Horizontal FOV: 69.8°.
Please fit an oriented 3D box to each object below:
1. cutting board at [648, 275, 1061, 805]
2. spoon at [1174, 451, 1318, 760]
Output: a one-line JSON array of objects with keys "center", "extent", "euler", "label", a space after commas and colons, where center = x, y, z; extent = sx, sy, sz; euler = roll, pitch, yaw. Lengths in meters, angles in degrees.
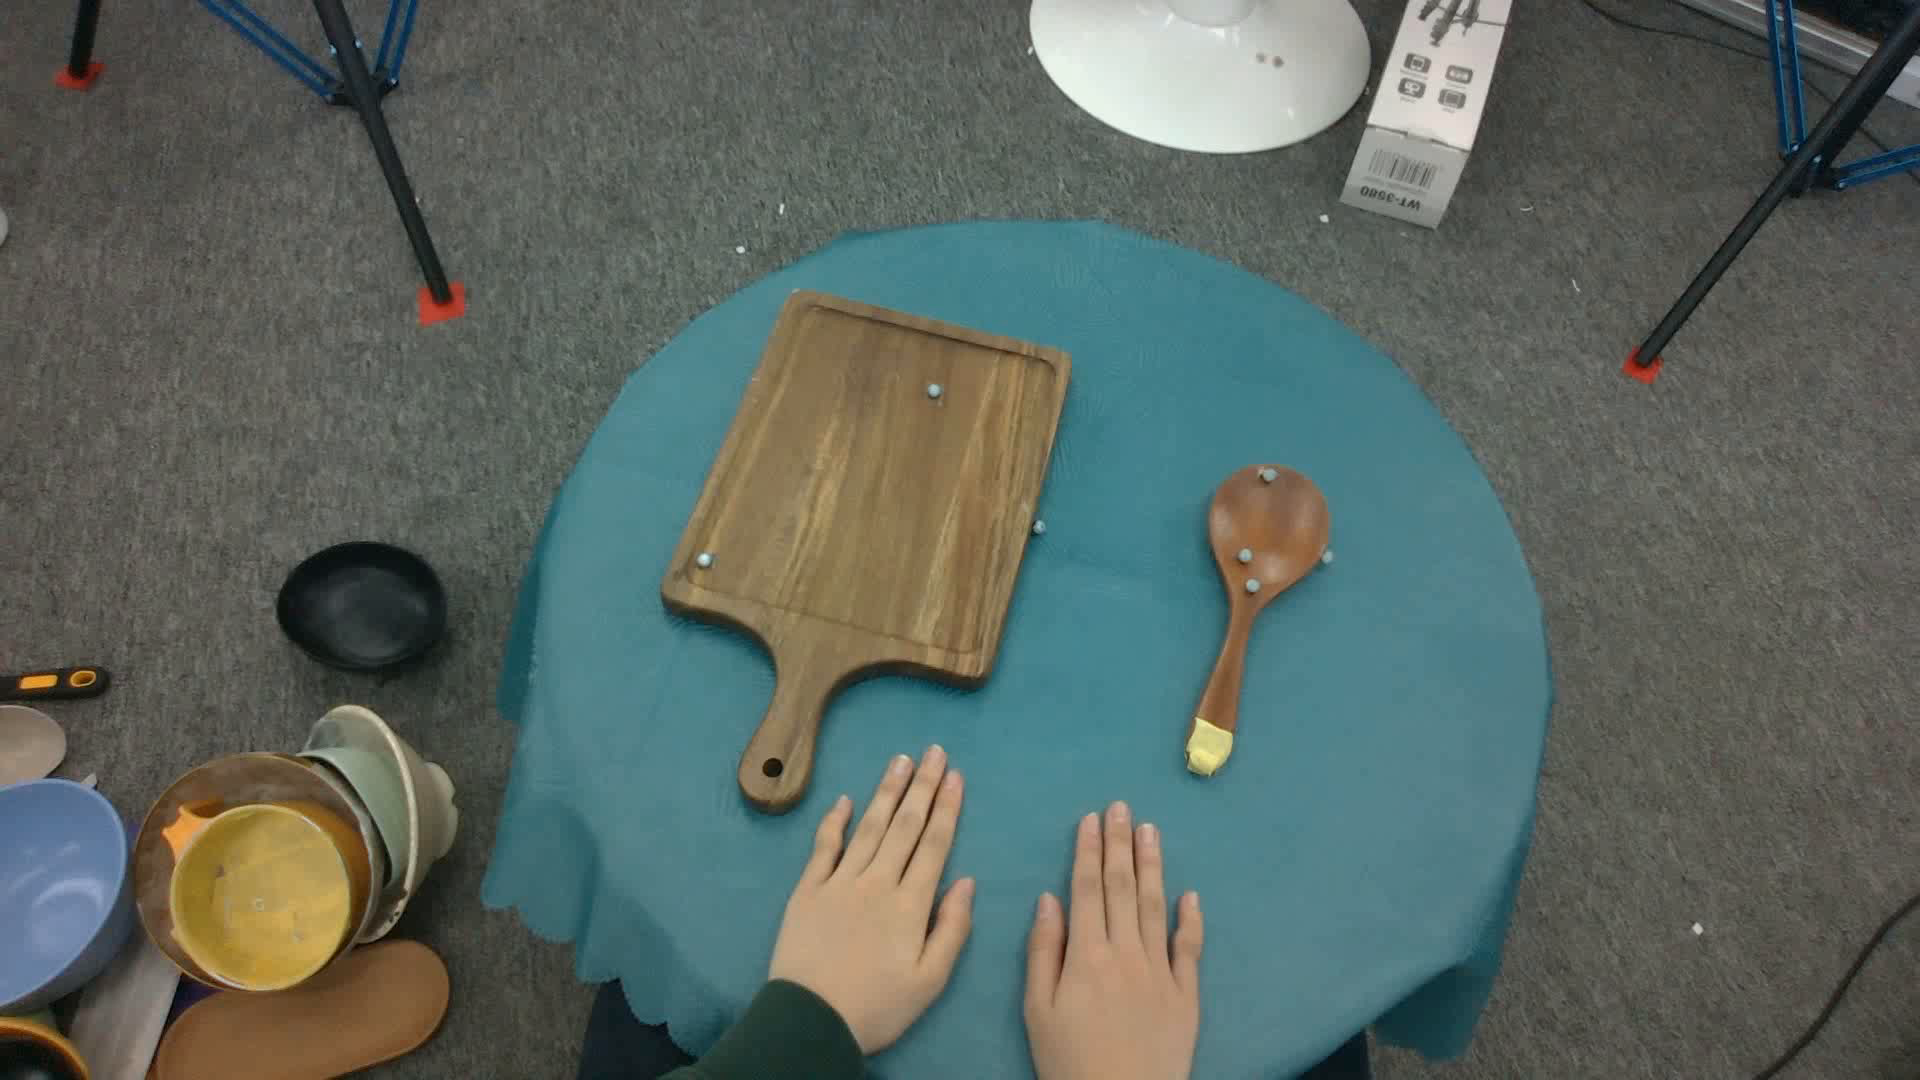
[{"center": [-0.068, -0.008, 0.819], "extent": [0.201, 0.023, 0.354], "euler": [15, 58, 3], "label": "cutting board"}, {"center": [0.162, 0.034, 0.813], "extent": [0.075, 0.017, 0.217], "euler": [19, 57, 5], "label": "spoon"}]
